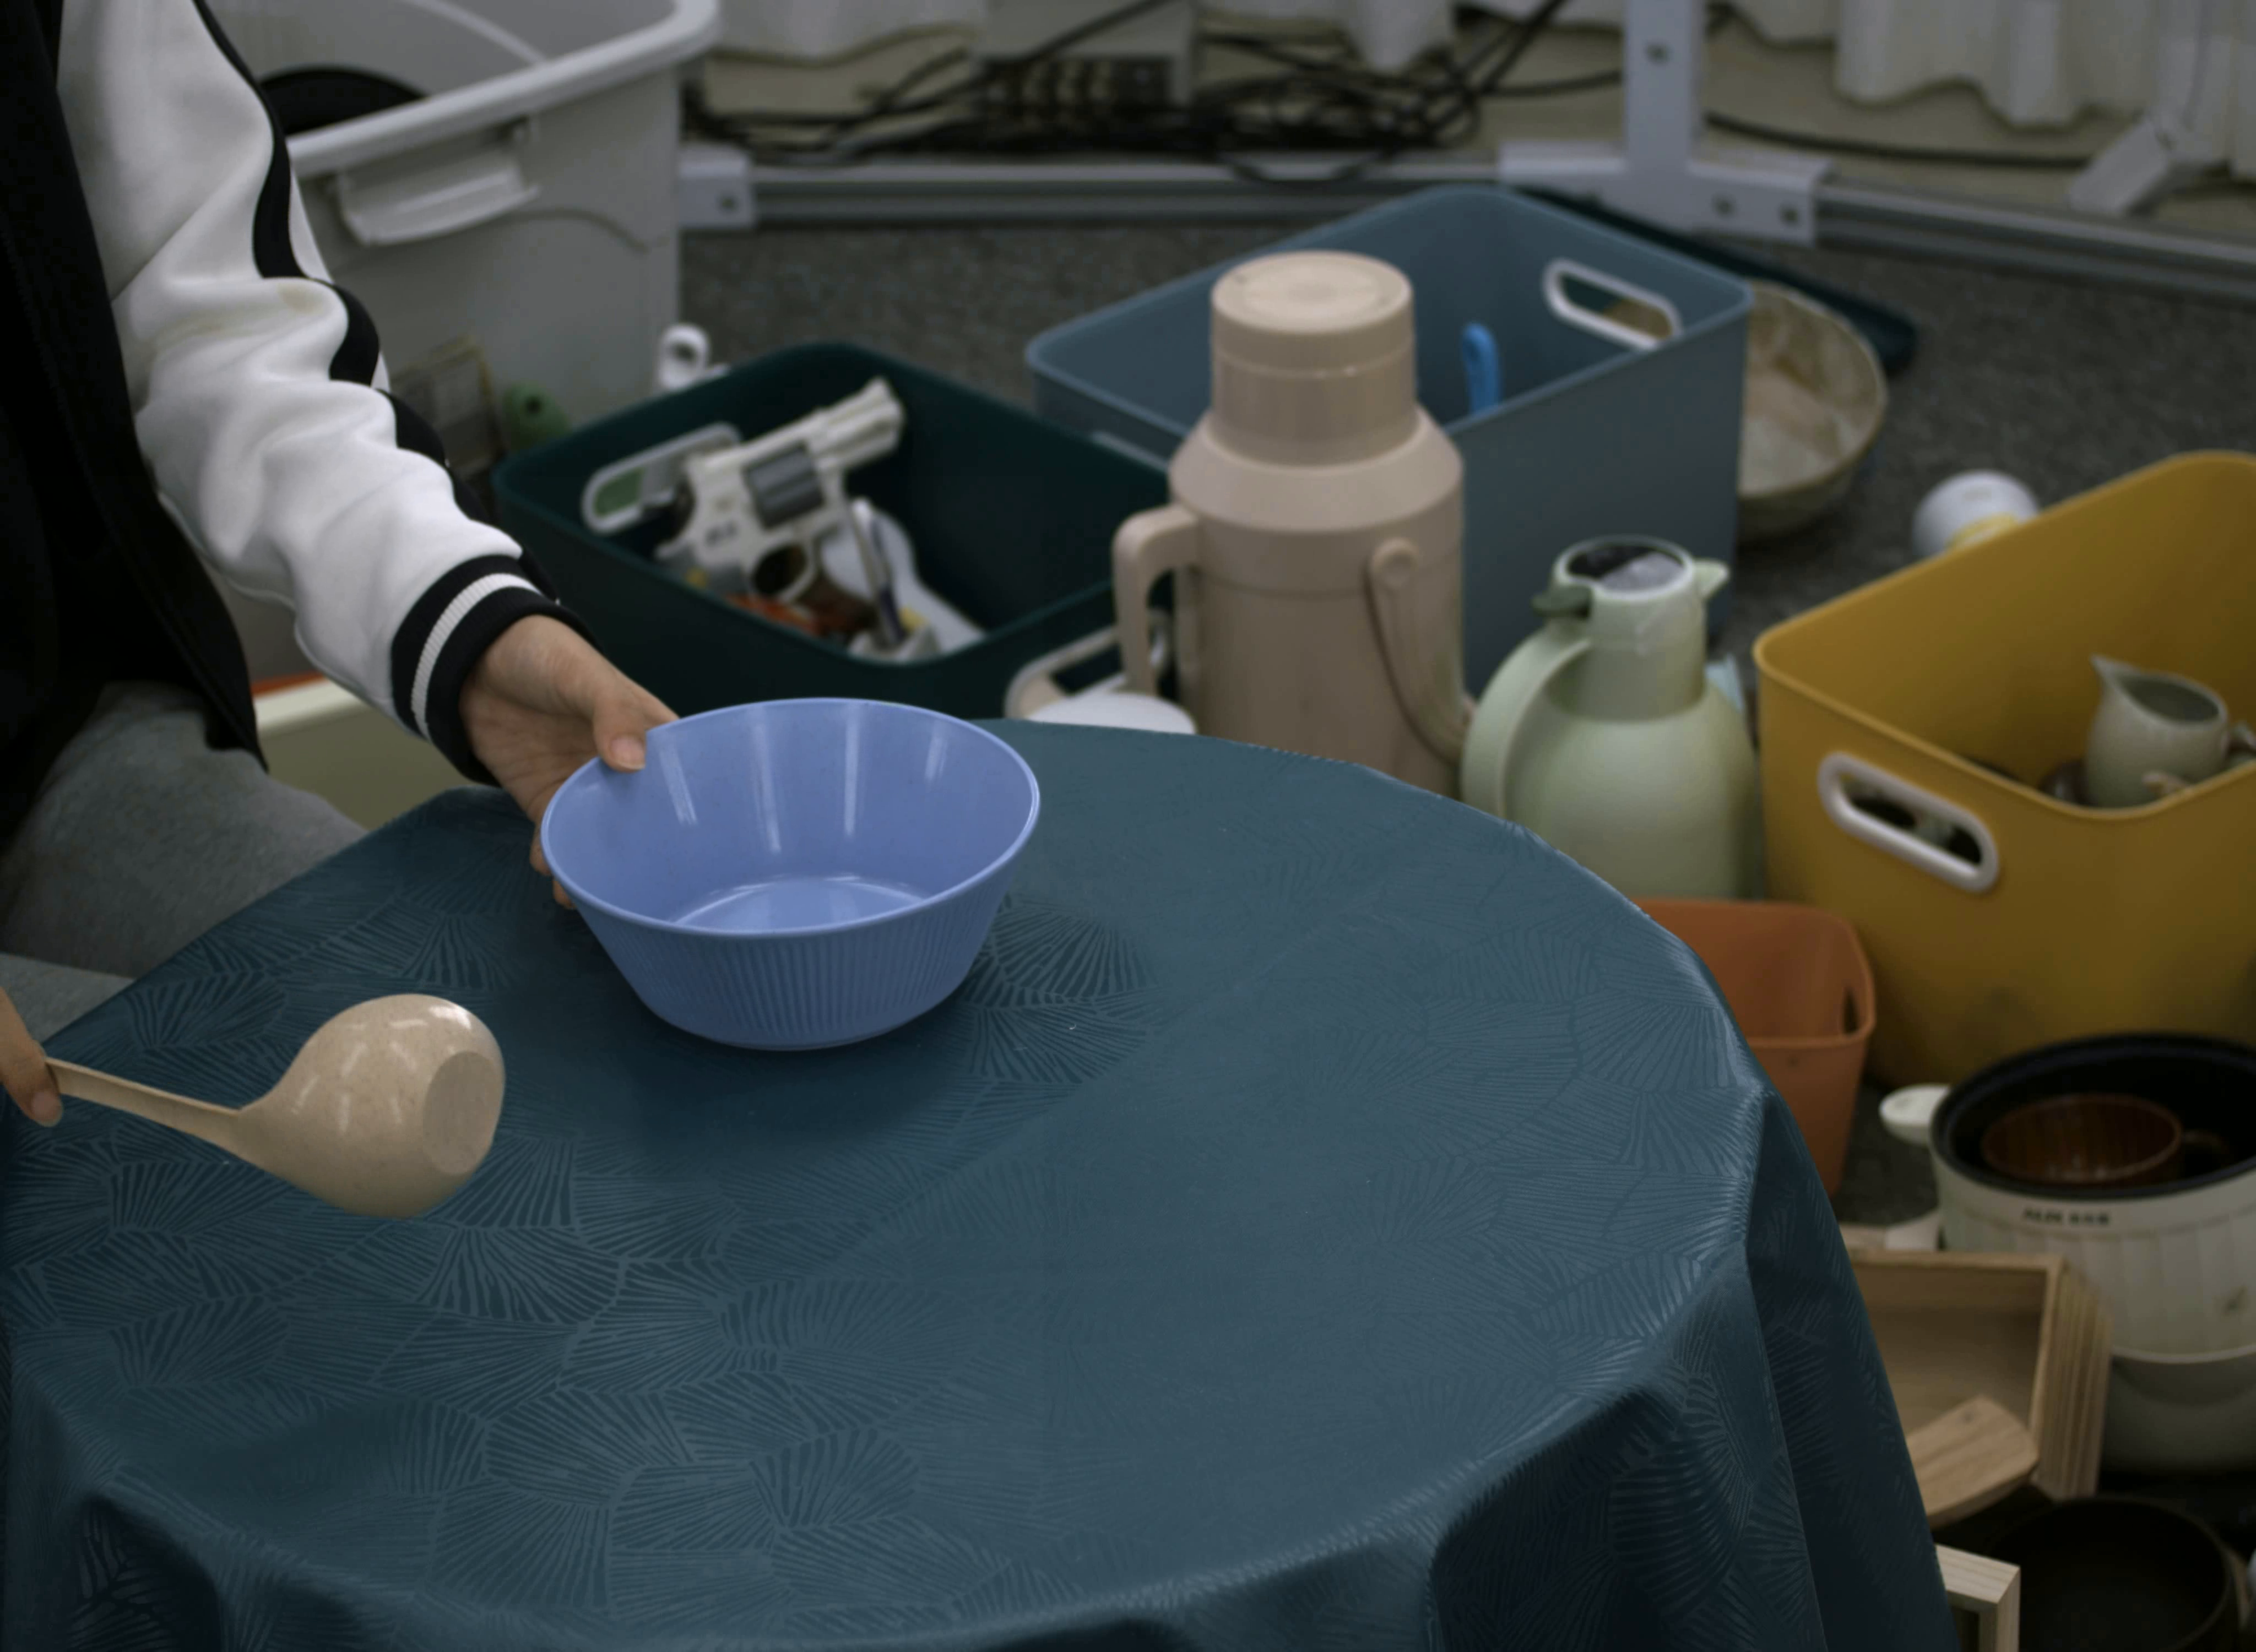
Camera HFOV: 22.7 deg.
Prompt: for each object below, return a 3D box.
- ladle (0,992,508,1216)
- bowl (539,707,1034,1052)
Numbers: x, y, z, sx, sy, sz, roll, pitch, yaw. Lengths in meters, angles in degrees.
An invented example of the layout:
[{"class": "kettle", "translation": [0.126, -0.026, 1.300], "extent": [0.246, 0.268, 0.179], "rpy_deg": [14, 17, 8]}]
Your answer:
[{"class": "ladle", "translation": [-0.308, 0.071, 1.813], "extent": [0.253, 0.071, 0.074], "rpy_deg": [12, 30, 35]}, {"class": "bowl", "translation": [-0.118, 0.024, 1.986], "extent": [0.175, 0.069, 0.178], "rpy_deg": [-2, 26, 1]}]
